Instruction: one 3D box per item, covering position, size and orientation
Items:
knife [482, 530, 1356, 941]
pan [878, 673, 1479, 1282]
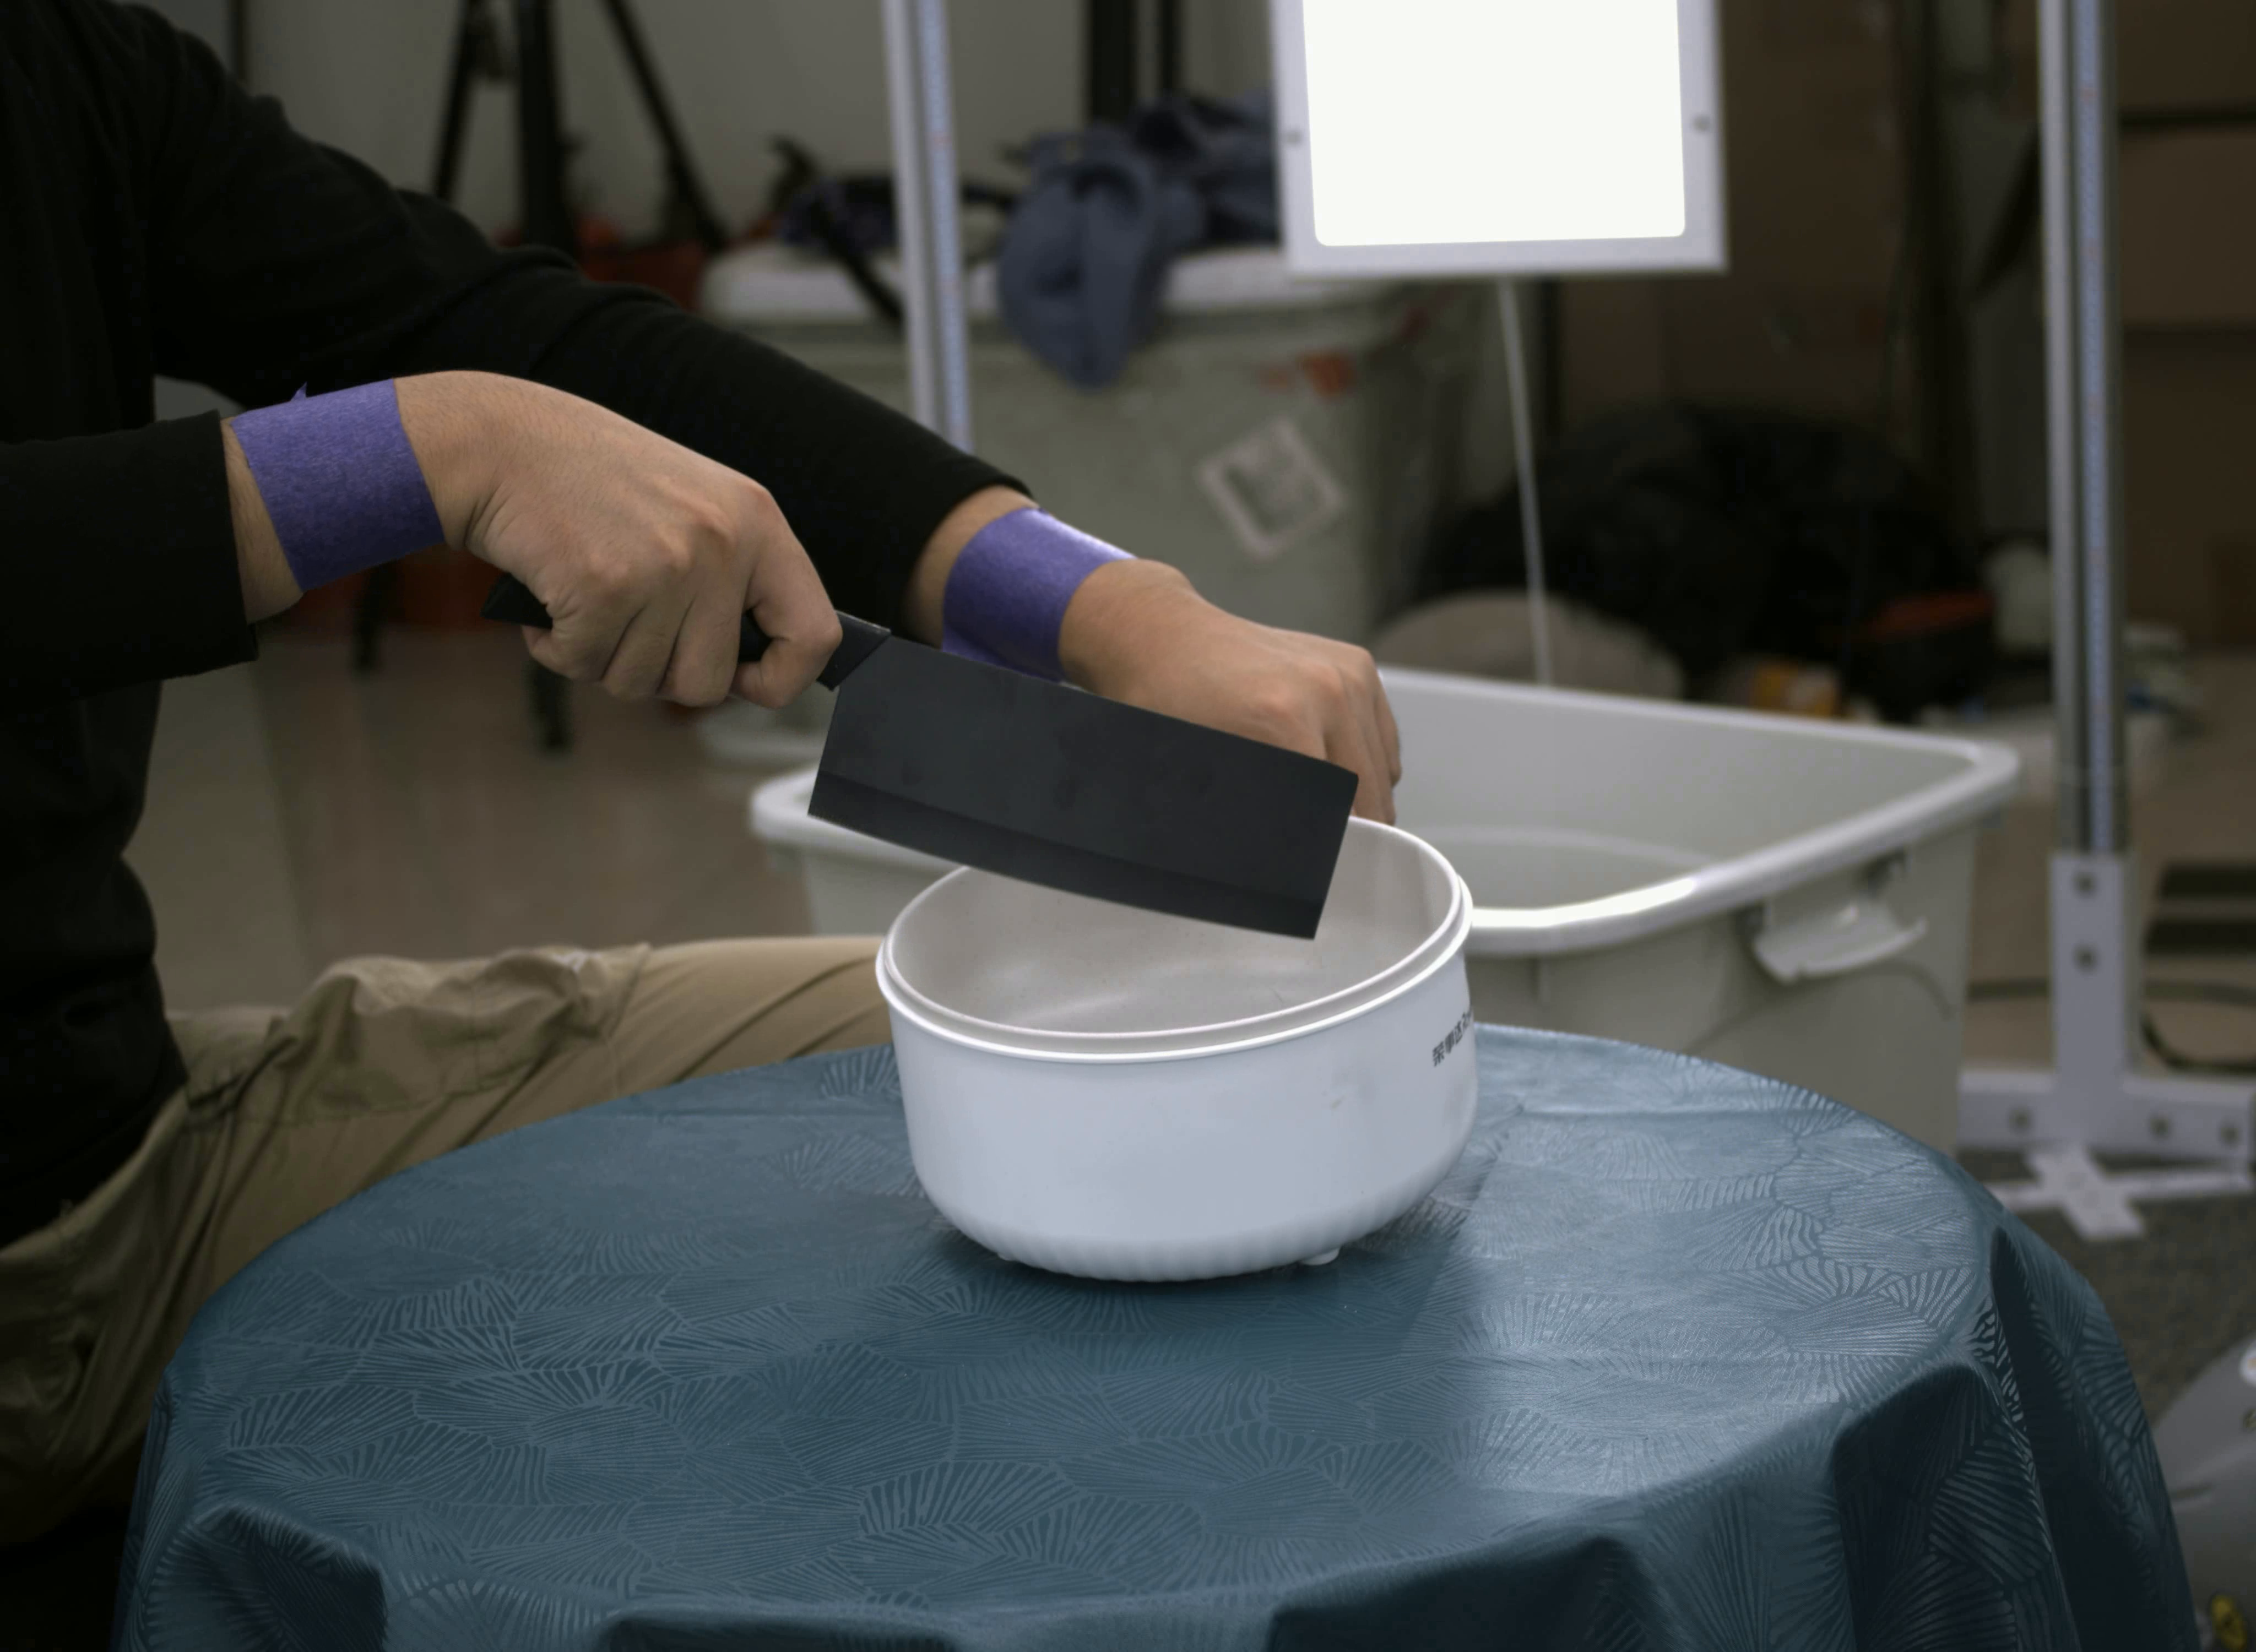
[{"bbox_3d":[-0.068,-0.032,1.820,0.299,0.081,0.021,21,-2,-11],"label":"knife"},{"bbox_3d":[0.040,0.050,1.923,0.203,0.102,0.349,-1,21,17],"label":"pan"}]
